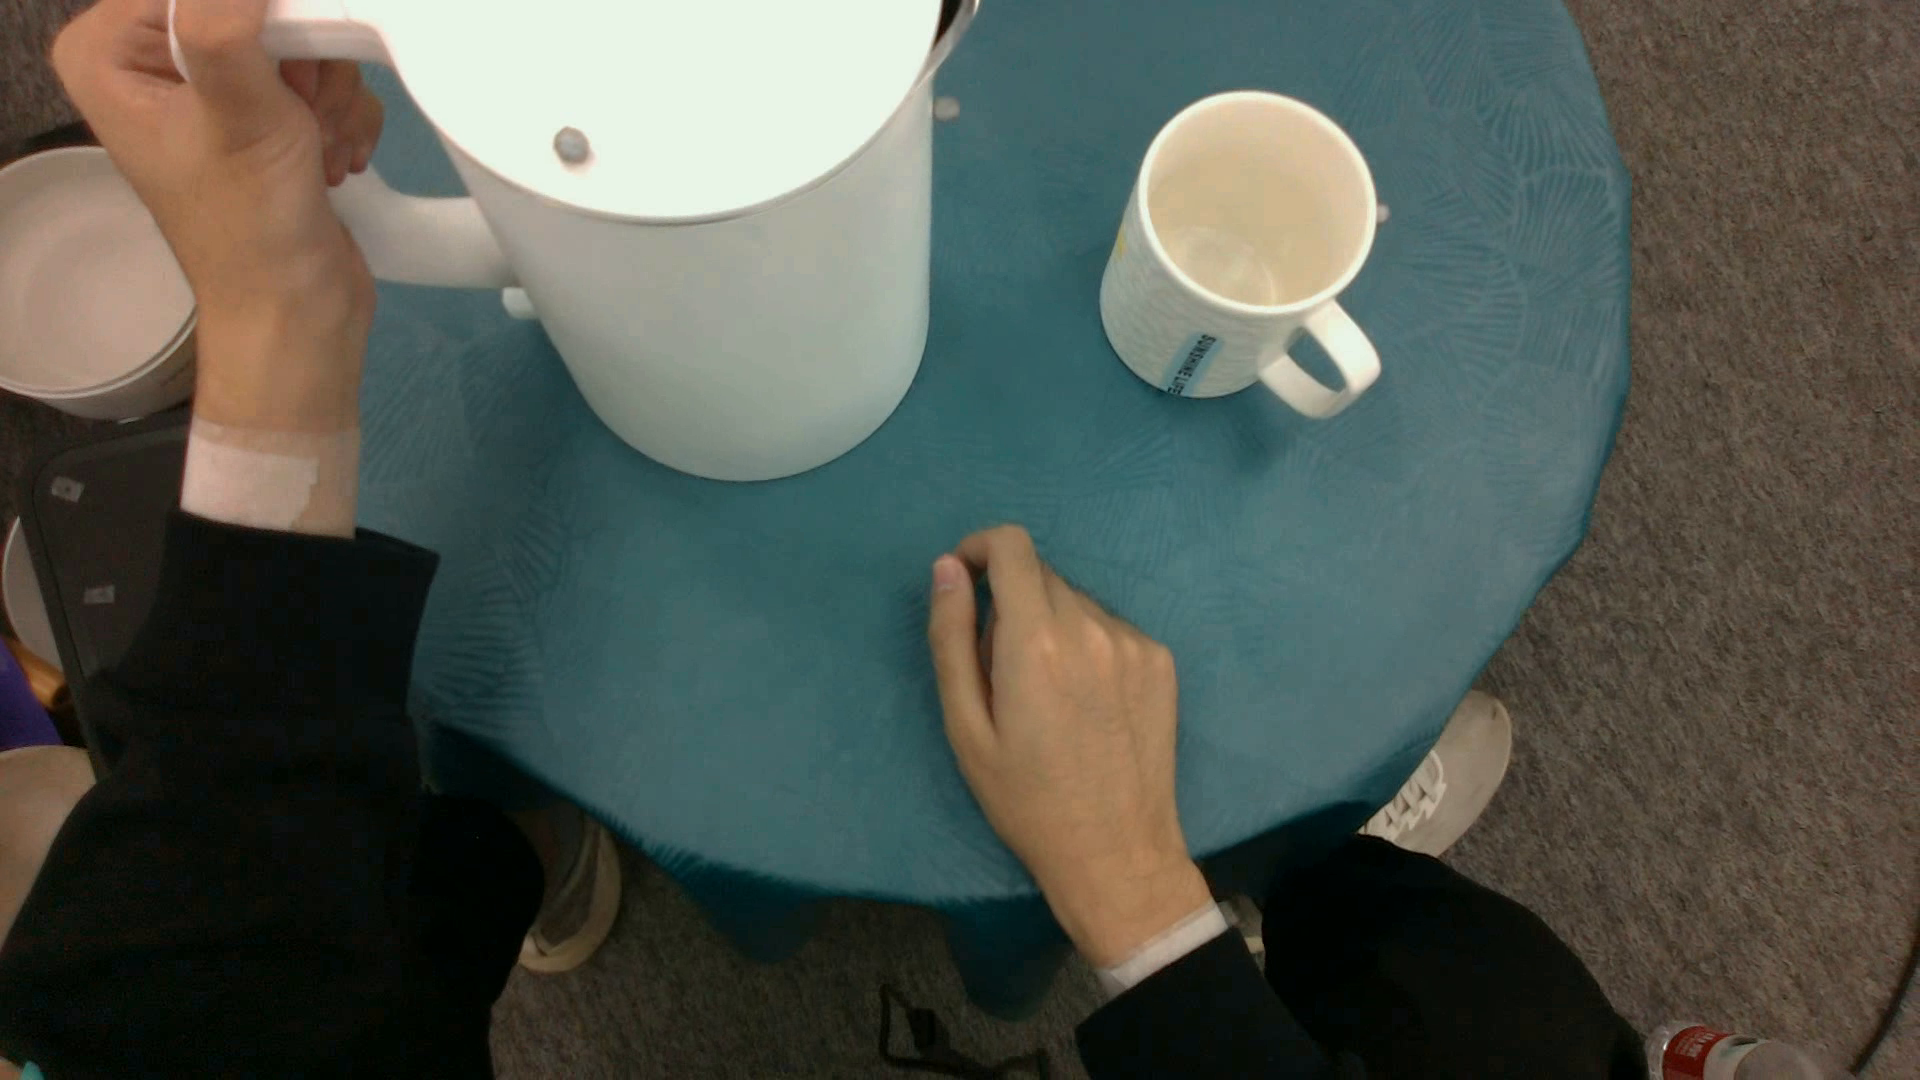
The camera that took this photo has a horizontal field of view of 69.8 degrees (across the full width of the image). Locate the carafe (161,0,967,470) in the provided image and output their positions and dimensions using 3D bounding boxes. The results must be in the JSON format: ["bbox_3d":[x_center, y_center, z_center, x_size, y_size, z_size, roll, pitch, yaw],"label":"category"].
[{"bbox_3d":[-0.112,-0.127,0.460,0.213,0.239,0.152,-2,76,-6],"label":"carafe"}]

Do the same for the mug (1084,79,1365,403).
[{"bbox_3d":[0.107,-0.103,0.538,0.085,0.101,0.118,-38,83,-12],"label":"mug"}]
